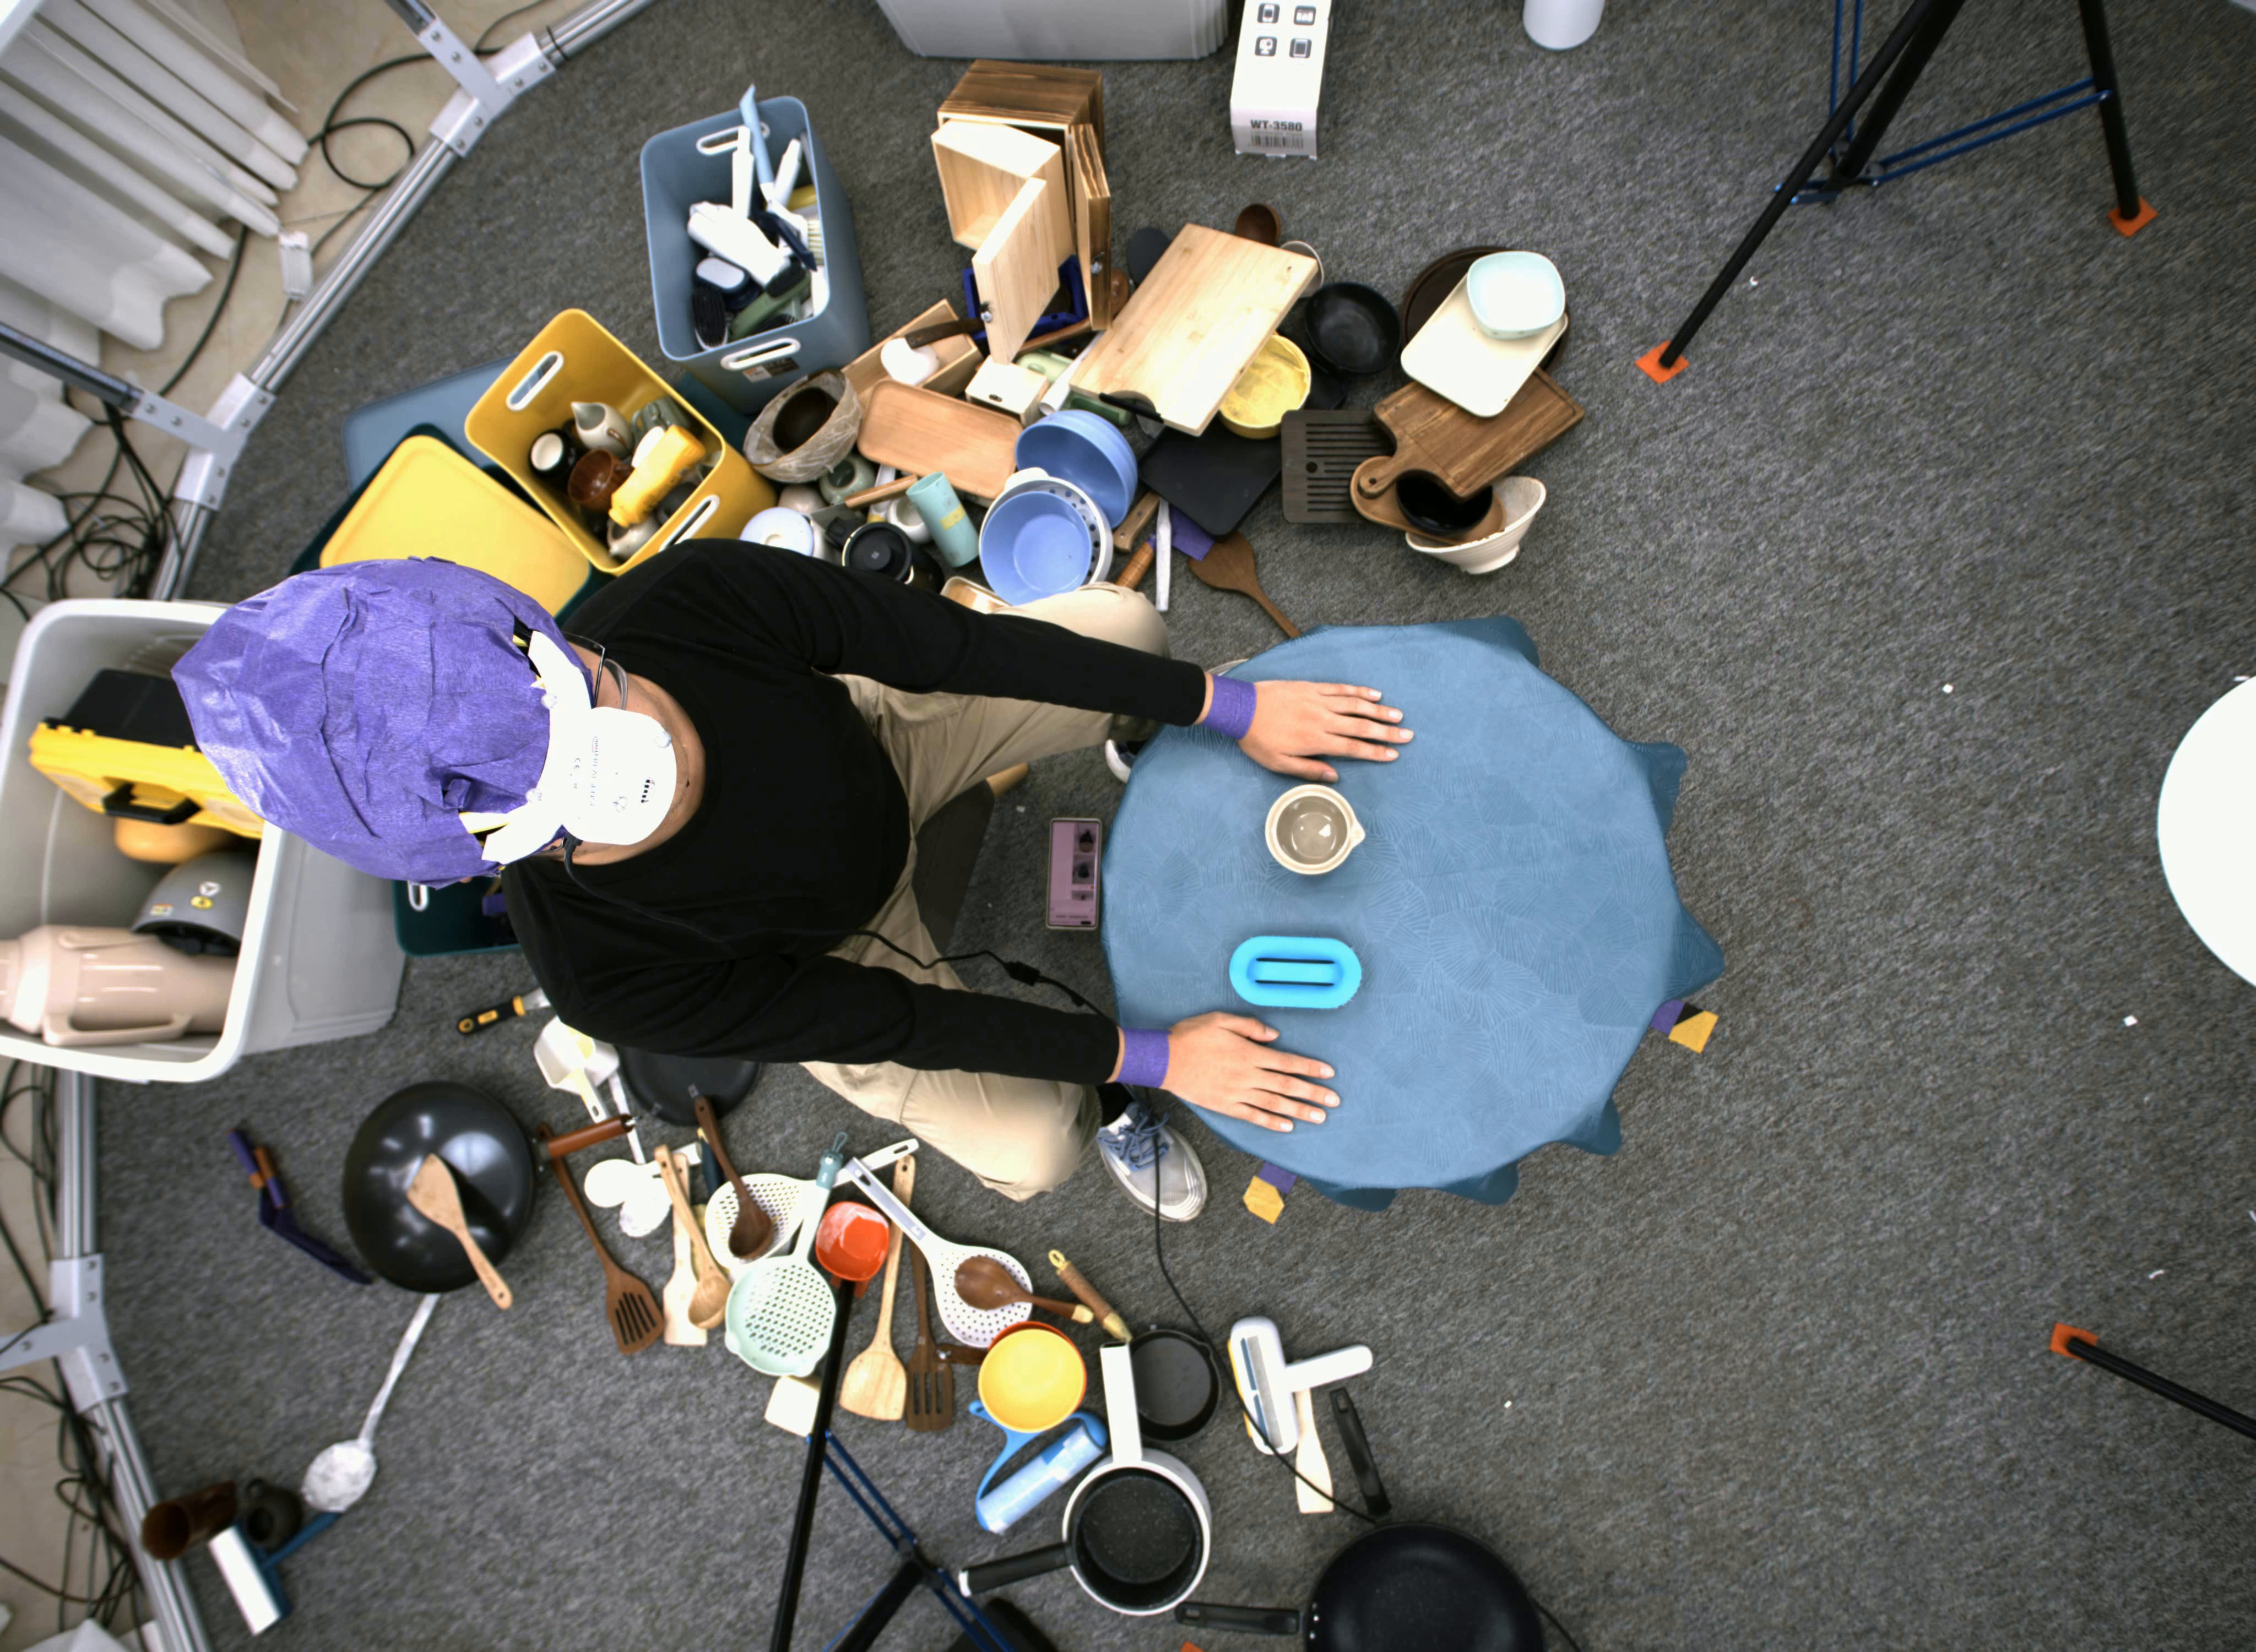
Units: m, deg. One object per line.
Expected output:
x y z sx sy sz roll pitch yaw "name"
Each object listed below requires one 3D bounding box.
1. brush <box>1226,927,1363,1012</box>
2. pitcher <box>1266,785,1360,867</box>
0.172 0.148 1.439 0.142 0.063 0.084 3 91 12 "brush"
0.193 0.003 1.439 0.096 0.071 0.083 12 87 9 "pitcher"
